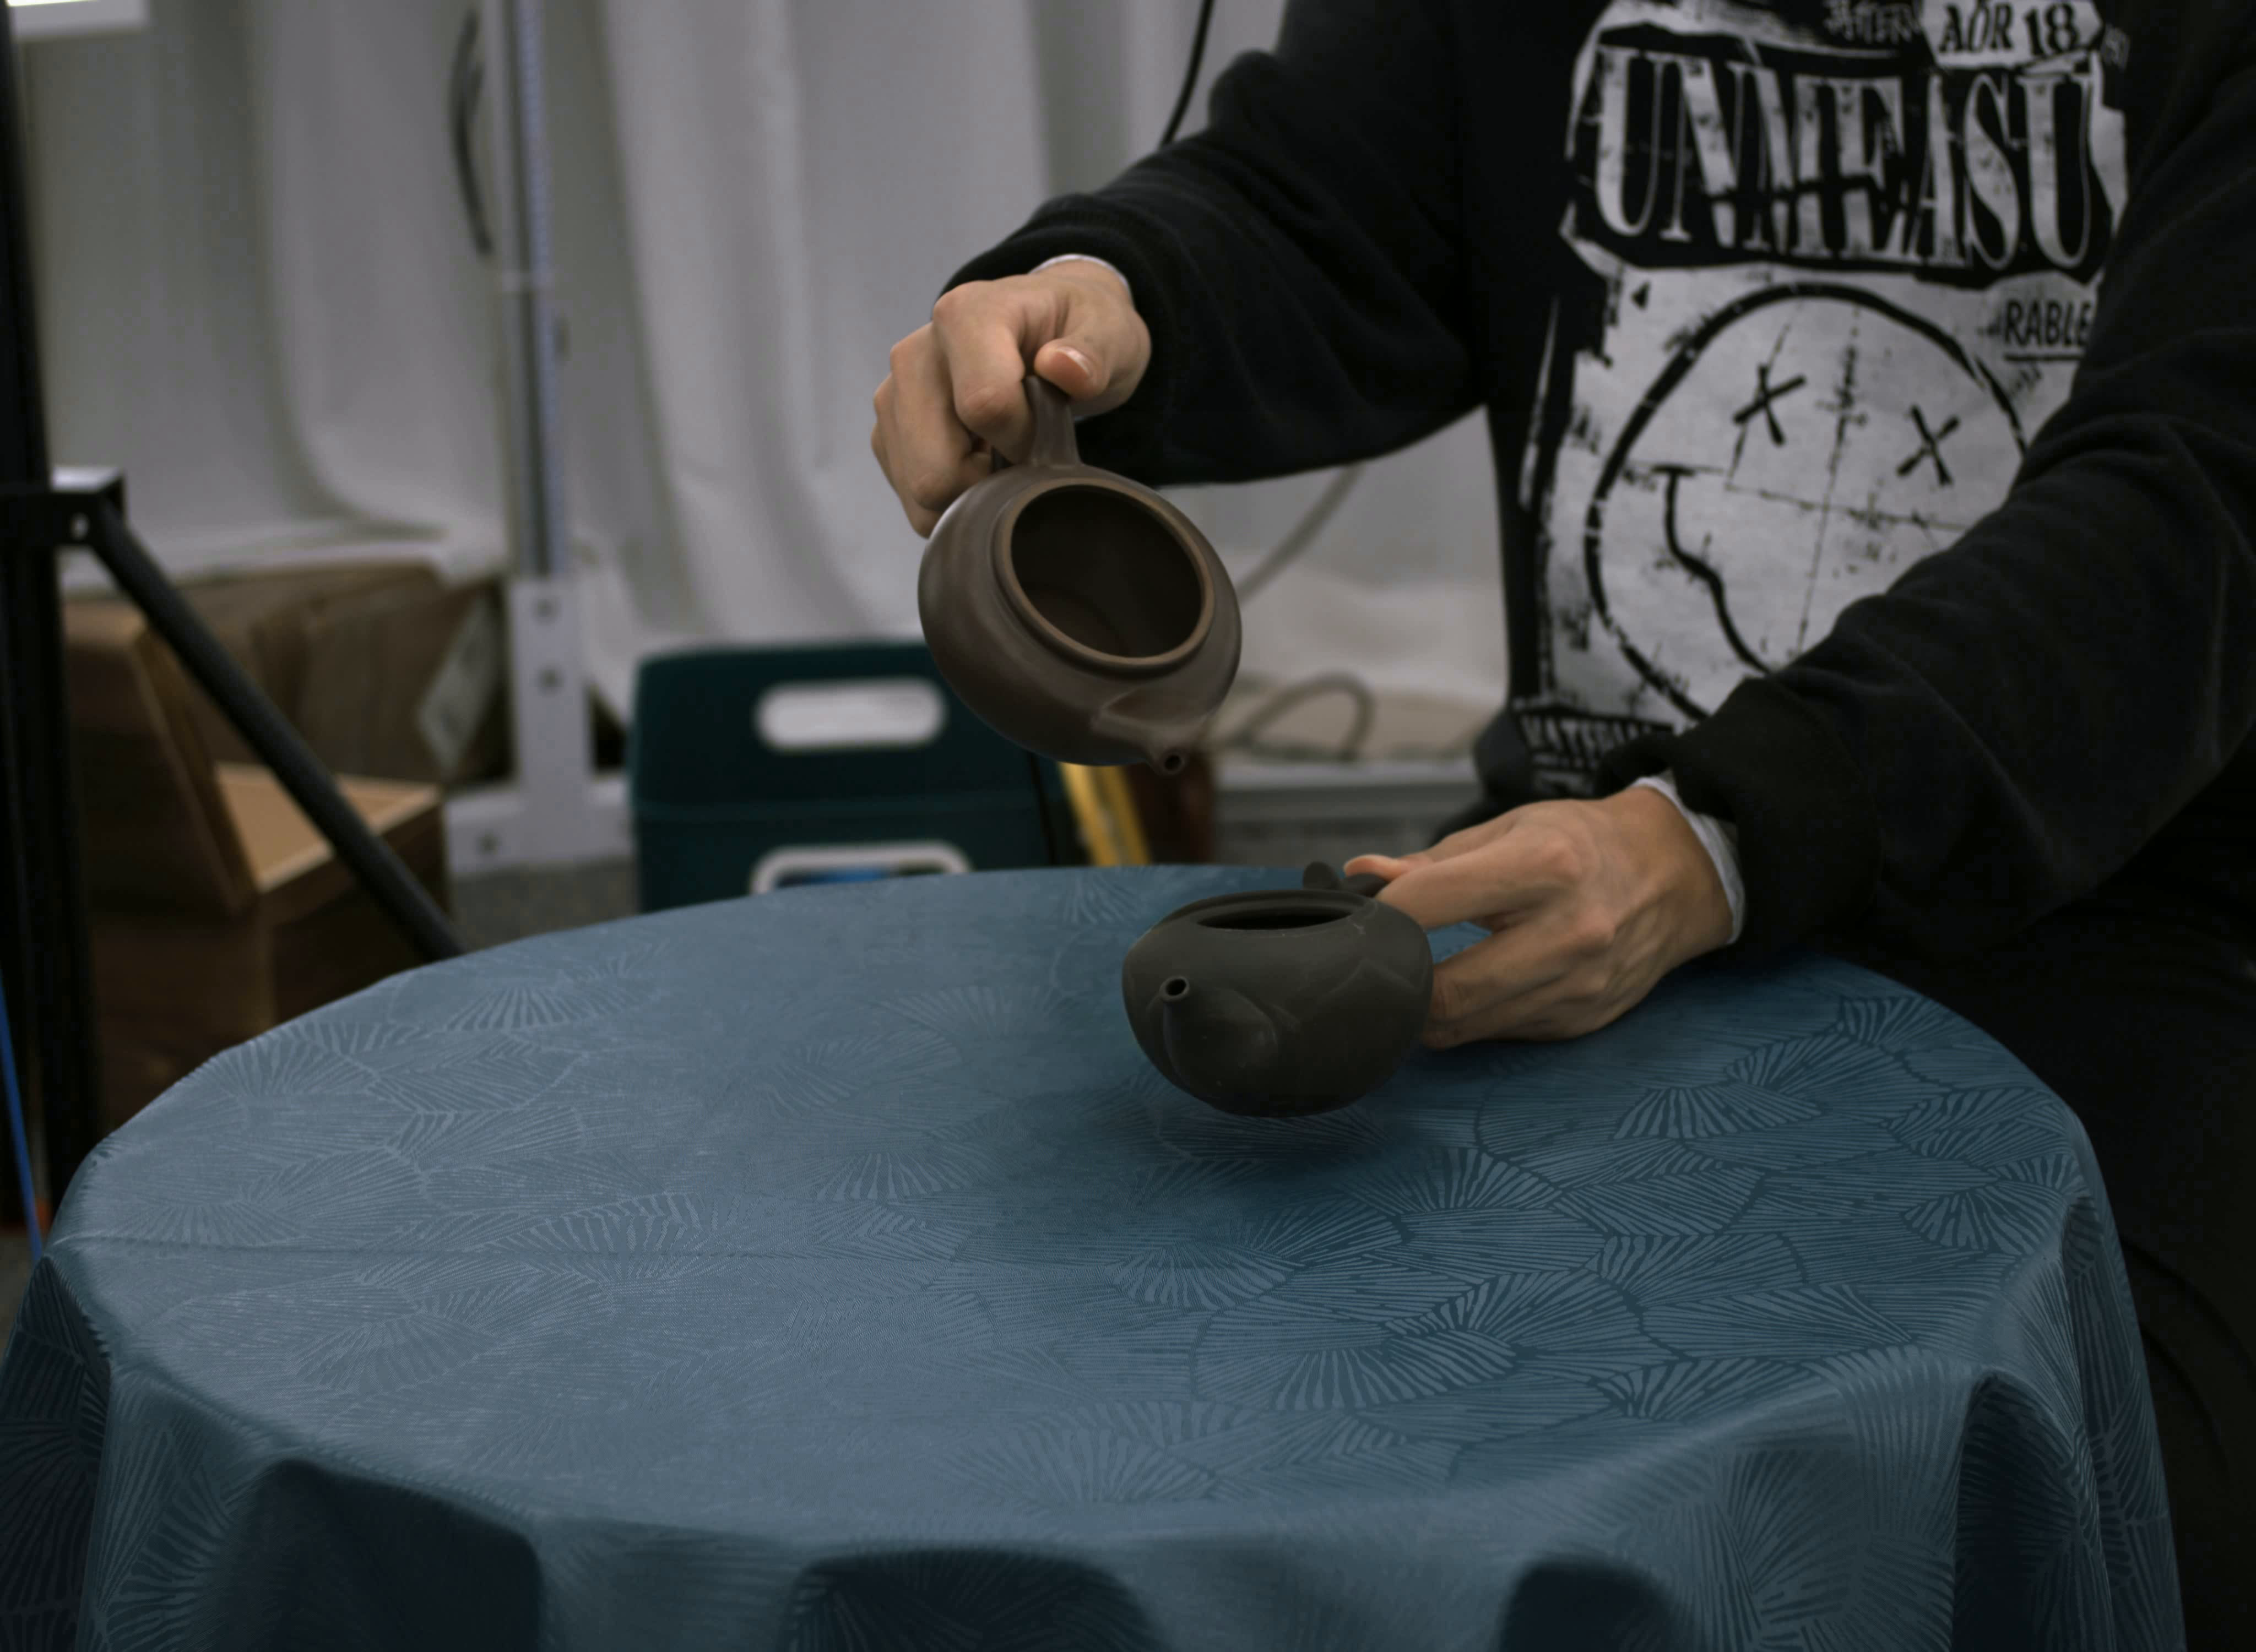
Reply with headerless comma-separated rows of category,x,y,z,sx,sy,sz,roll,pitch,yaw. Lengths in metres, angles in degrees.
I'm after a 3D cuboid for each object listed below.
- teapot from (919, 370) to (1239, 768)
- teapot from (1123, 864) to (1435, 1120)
teapot,-0.016,-0.071,1.614,0.100,0.054,0.156,-4,59,-30
teapot,0.047,0.050,1.587,0.094,0.064,0.151,5,15,28
